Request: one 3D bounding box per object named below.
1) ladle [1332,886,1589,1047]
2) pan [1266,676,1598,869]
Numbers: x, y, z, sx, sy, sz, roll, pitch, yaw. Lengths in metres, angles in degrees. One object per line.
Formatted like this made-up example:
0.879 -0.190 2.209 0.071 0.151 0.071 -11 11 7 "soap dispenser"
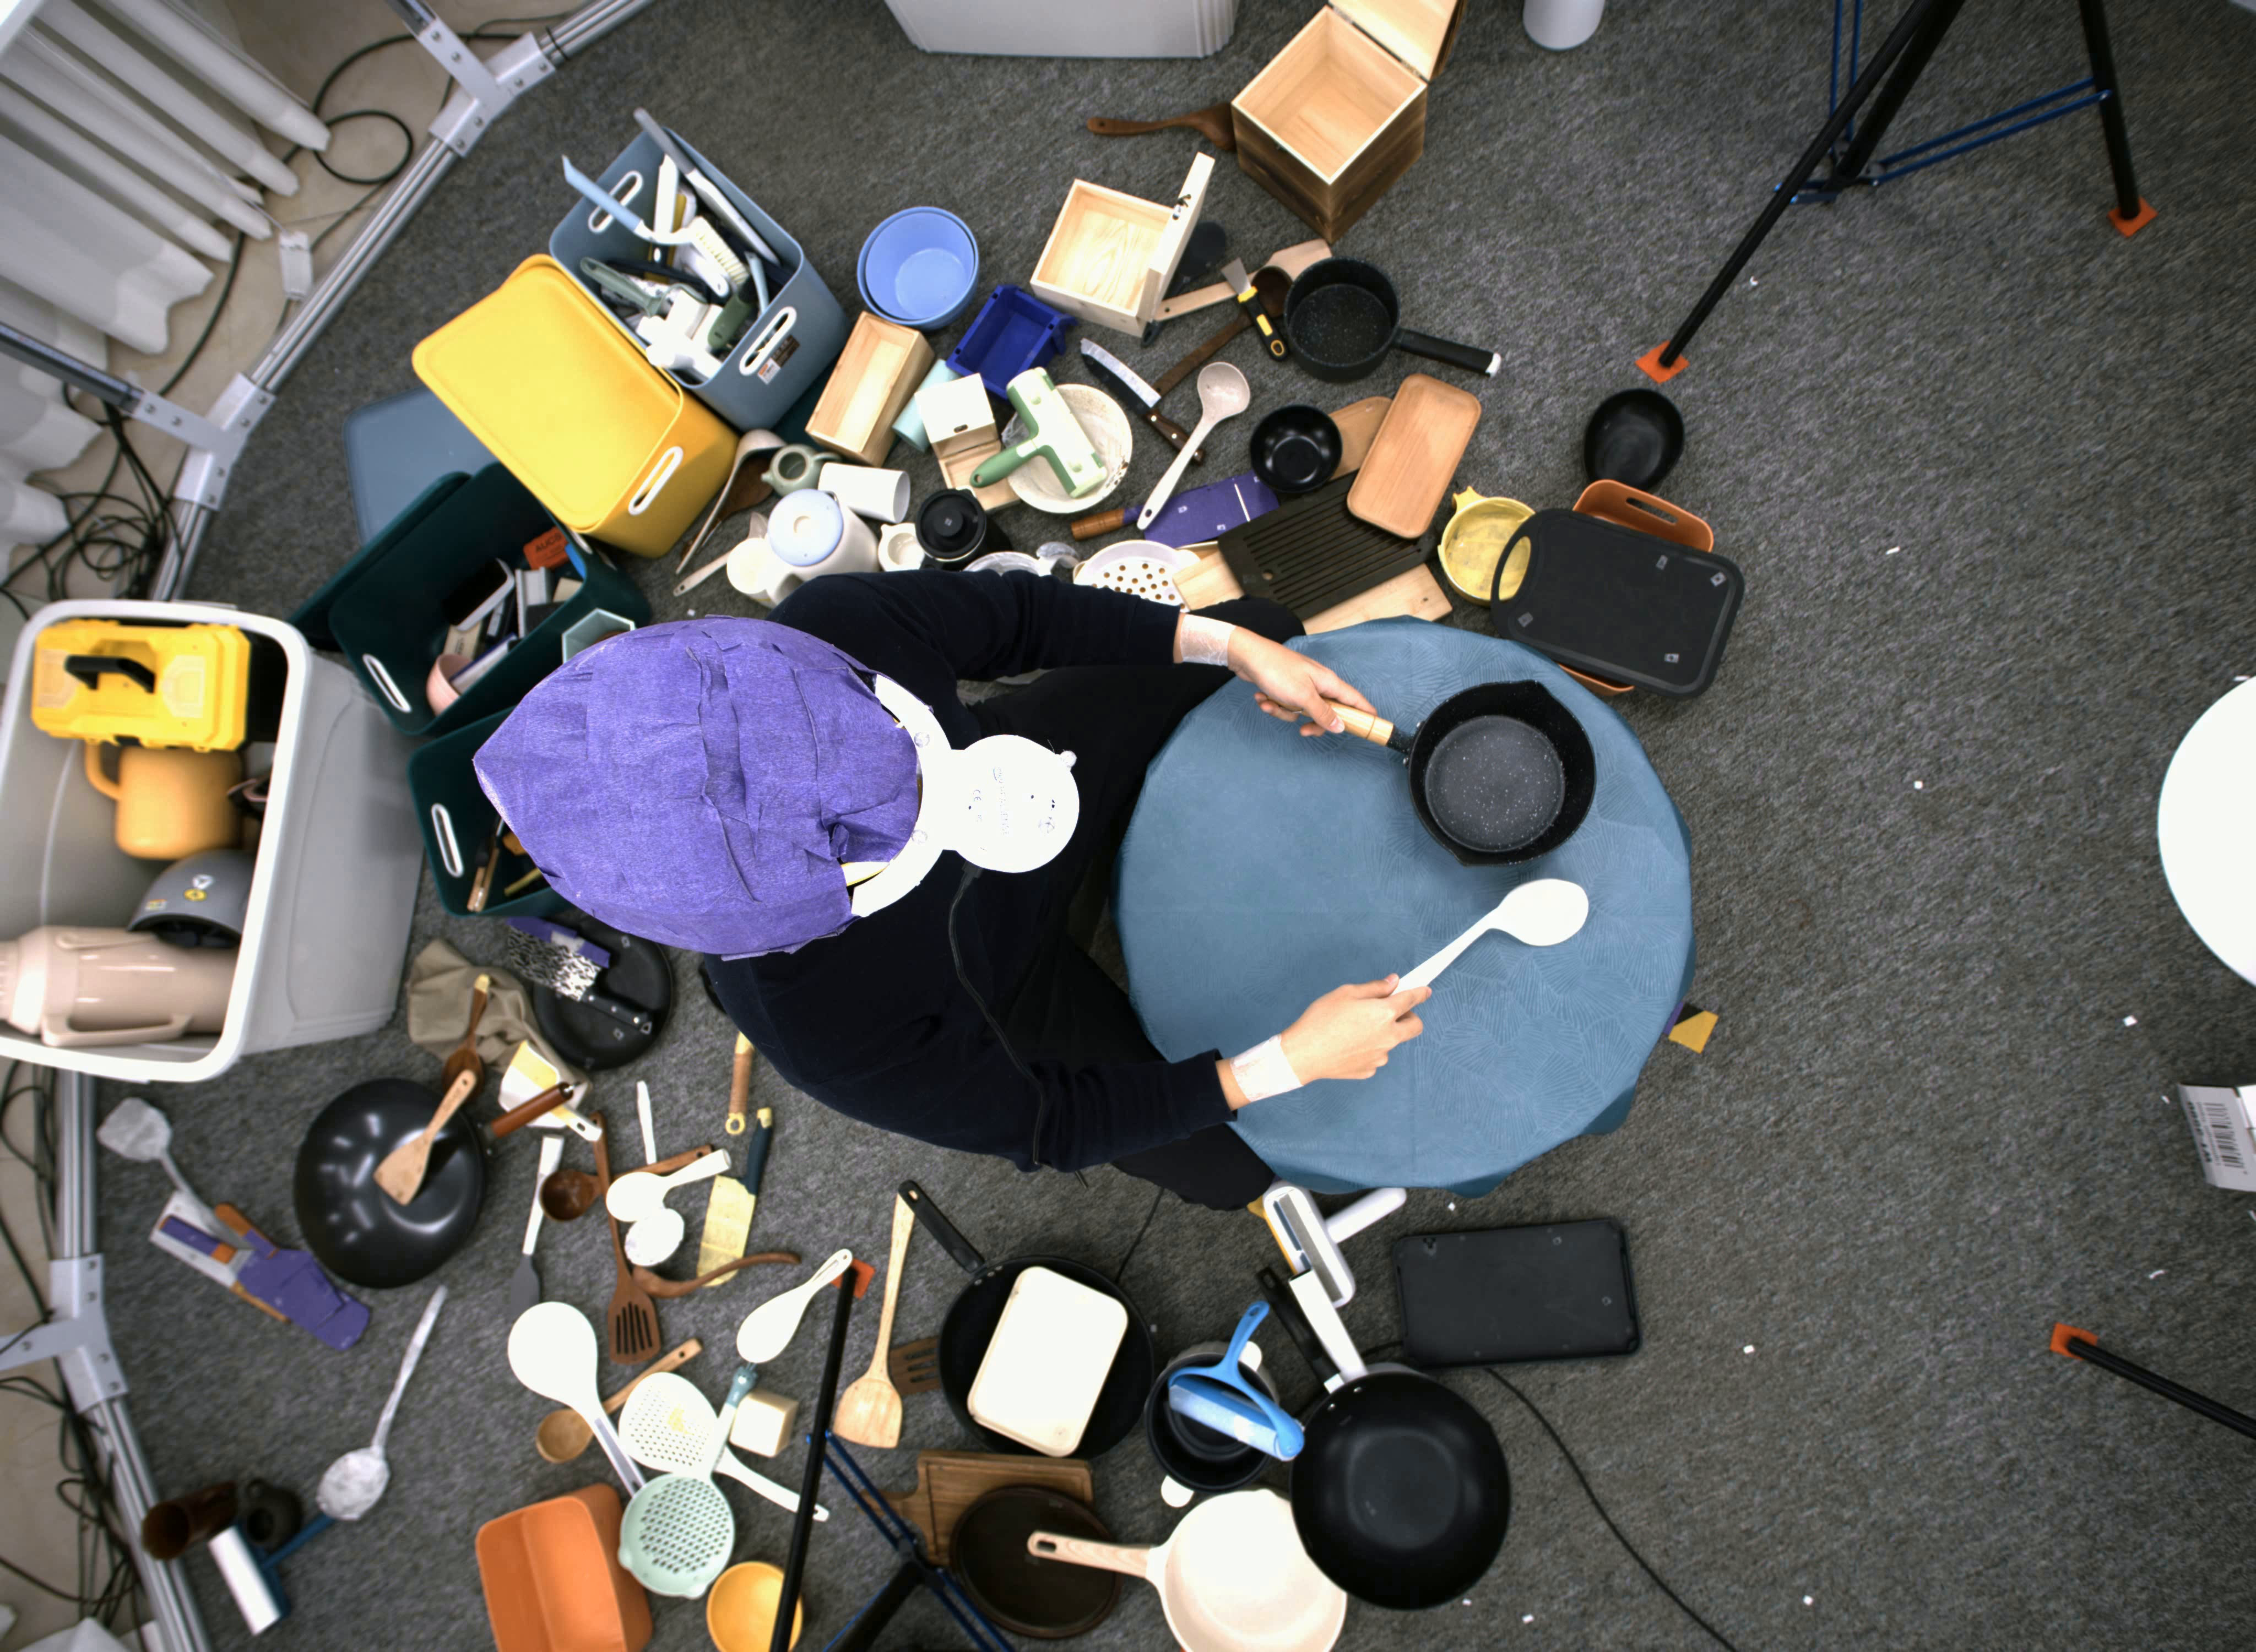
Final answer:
0.331 0.141 1.359 0.289 0.092 0.069 -30 55 -23 "ladle"
0.303 -0.077 1.407 0.343 0.108 0.207 20 91 9 "pan"
